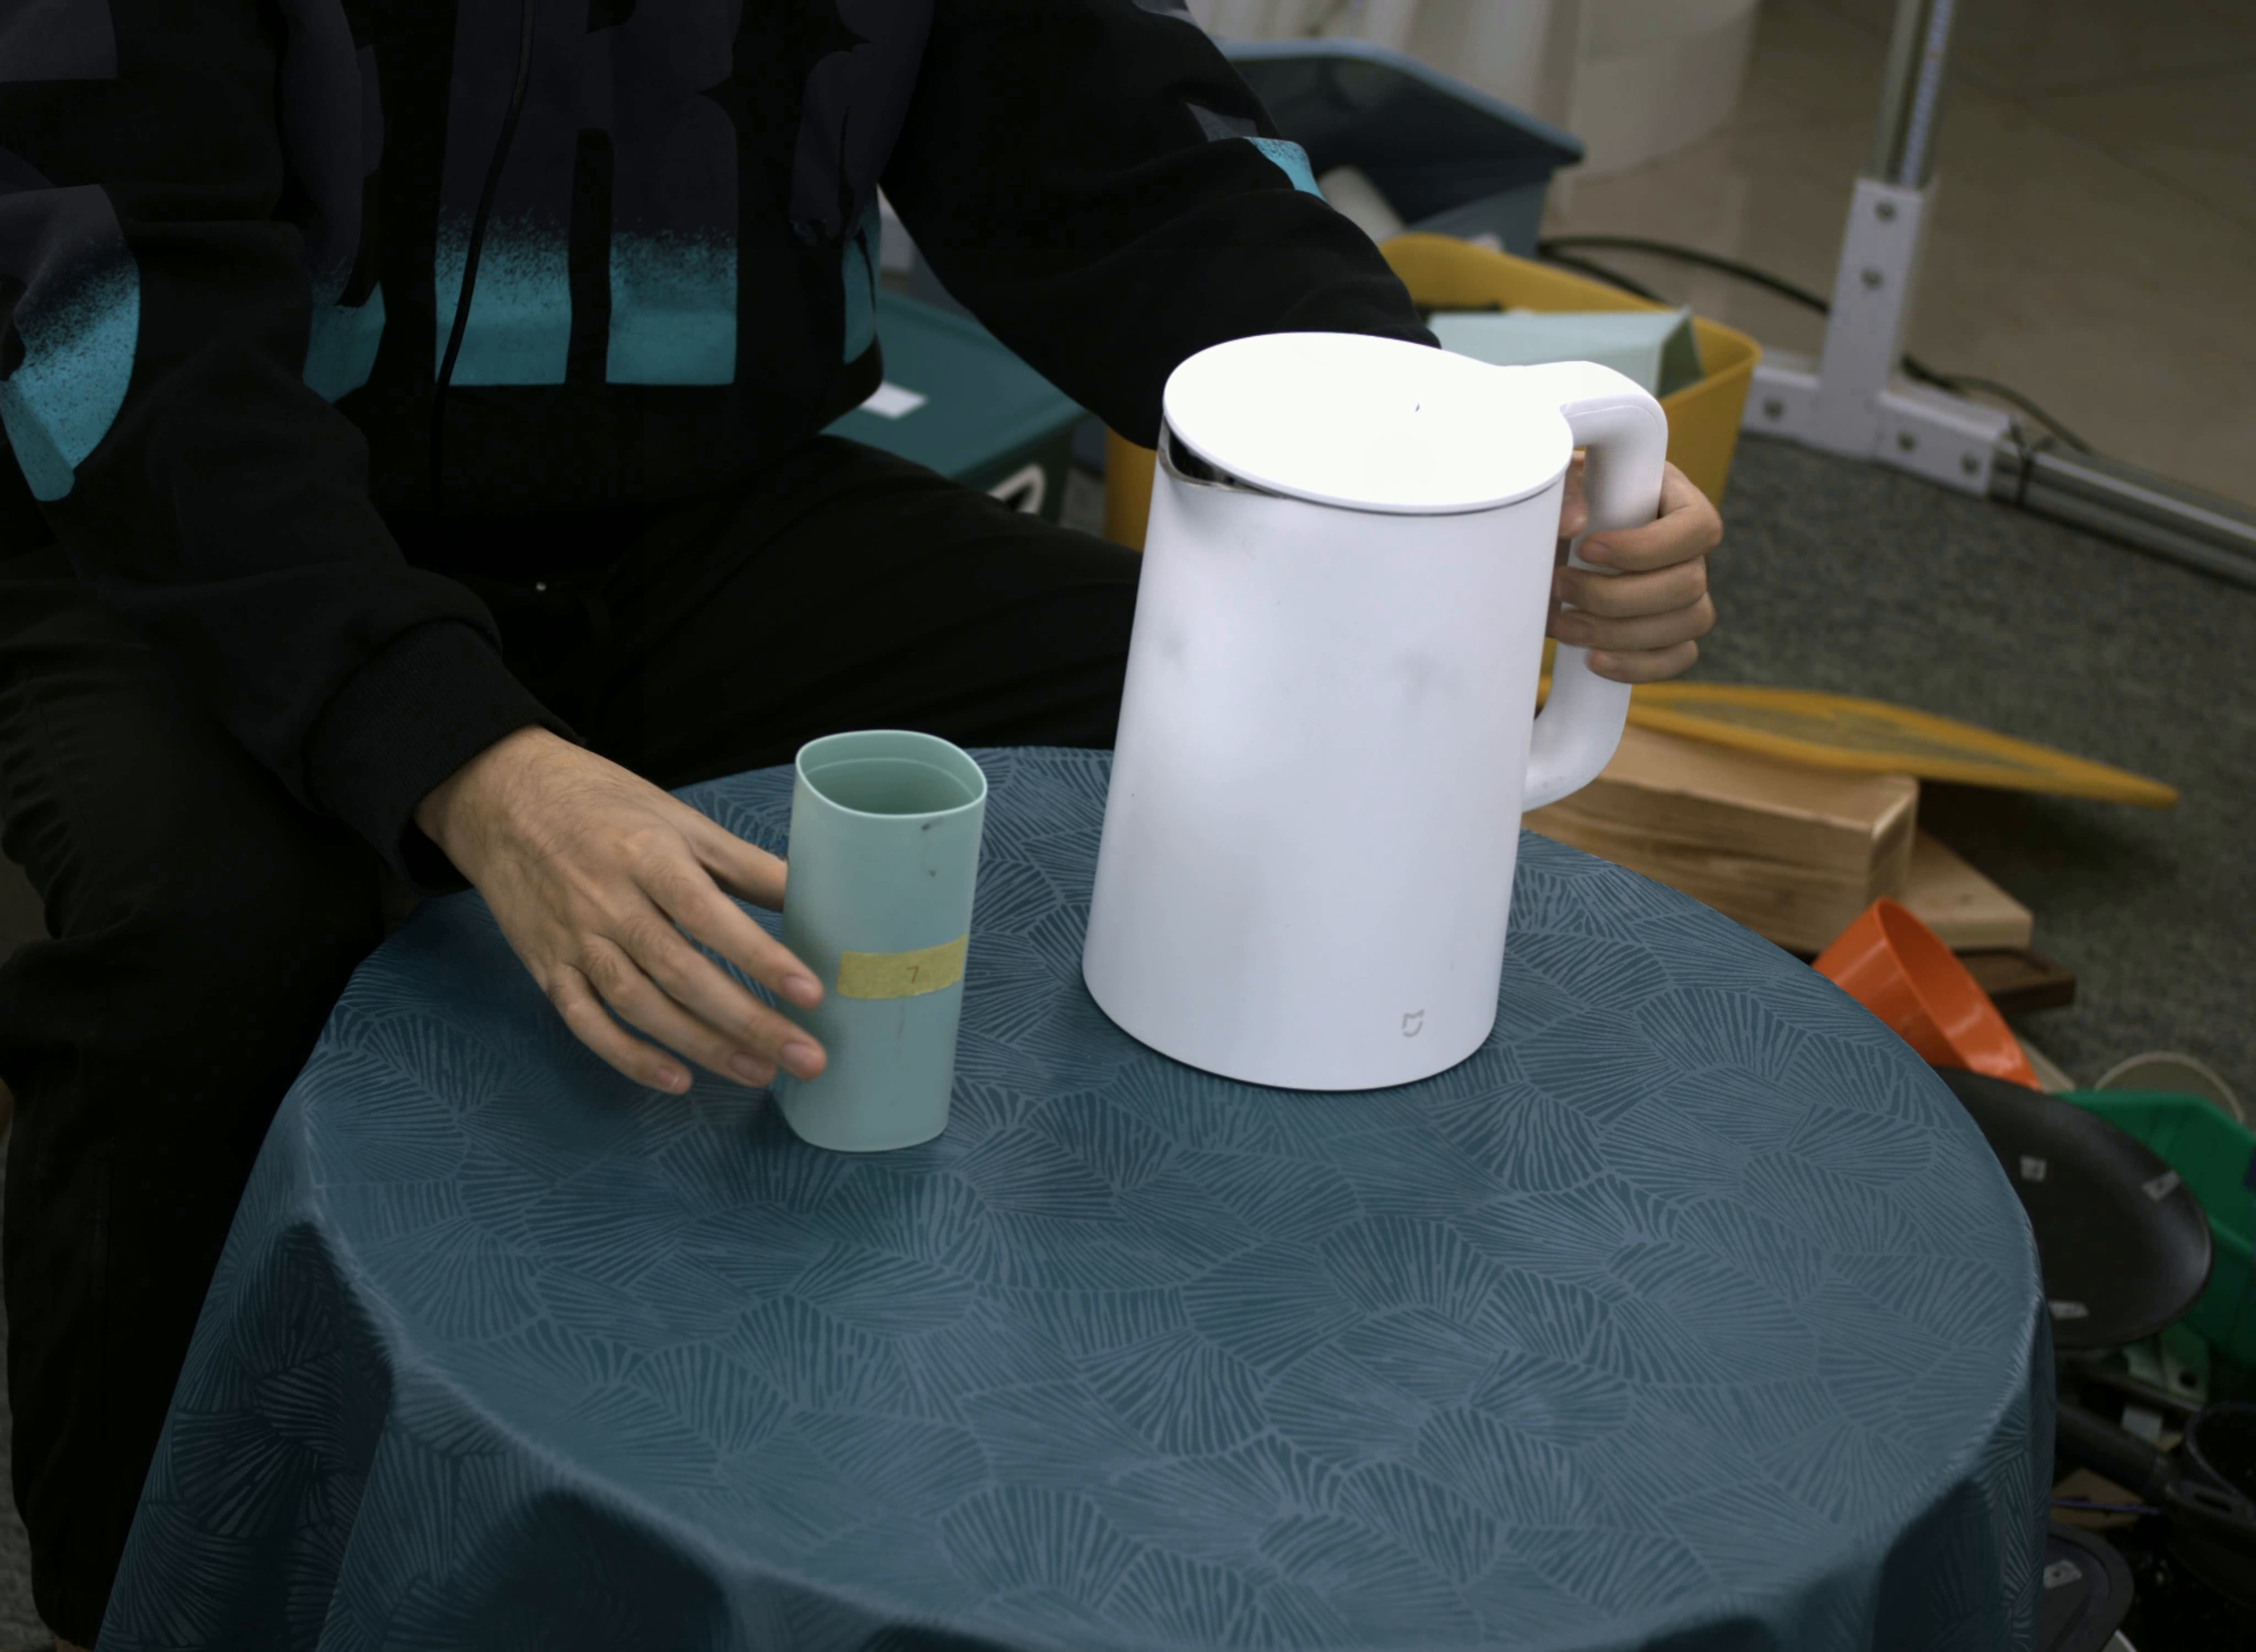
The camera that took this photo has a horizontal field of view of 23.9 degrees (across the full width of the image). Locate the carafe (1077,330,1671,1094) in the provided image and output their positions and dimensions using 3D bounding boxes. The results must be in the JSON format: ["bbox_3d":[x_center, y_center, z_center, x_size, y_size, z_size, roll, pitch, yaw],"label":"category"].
[{"bbox_3d":[0.093,-0.046,1.897,0.212,0.239,0.153,-12,33,-32],"label":"carafe"}]

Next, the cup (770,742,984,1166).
[{"bbox_3d":[-0.087,0.043,1.802,0.066,0.132,0.067,5,28,-3],"label":"cup"}]
